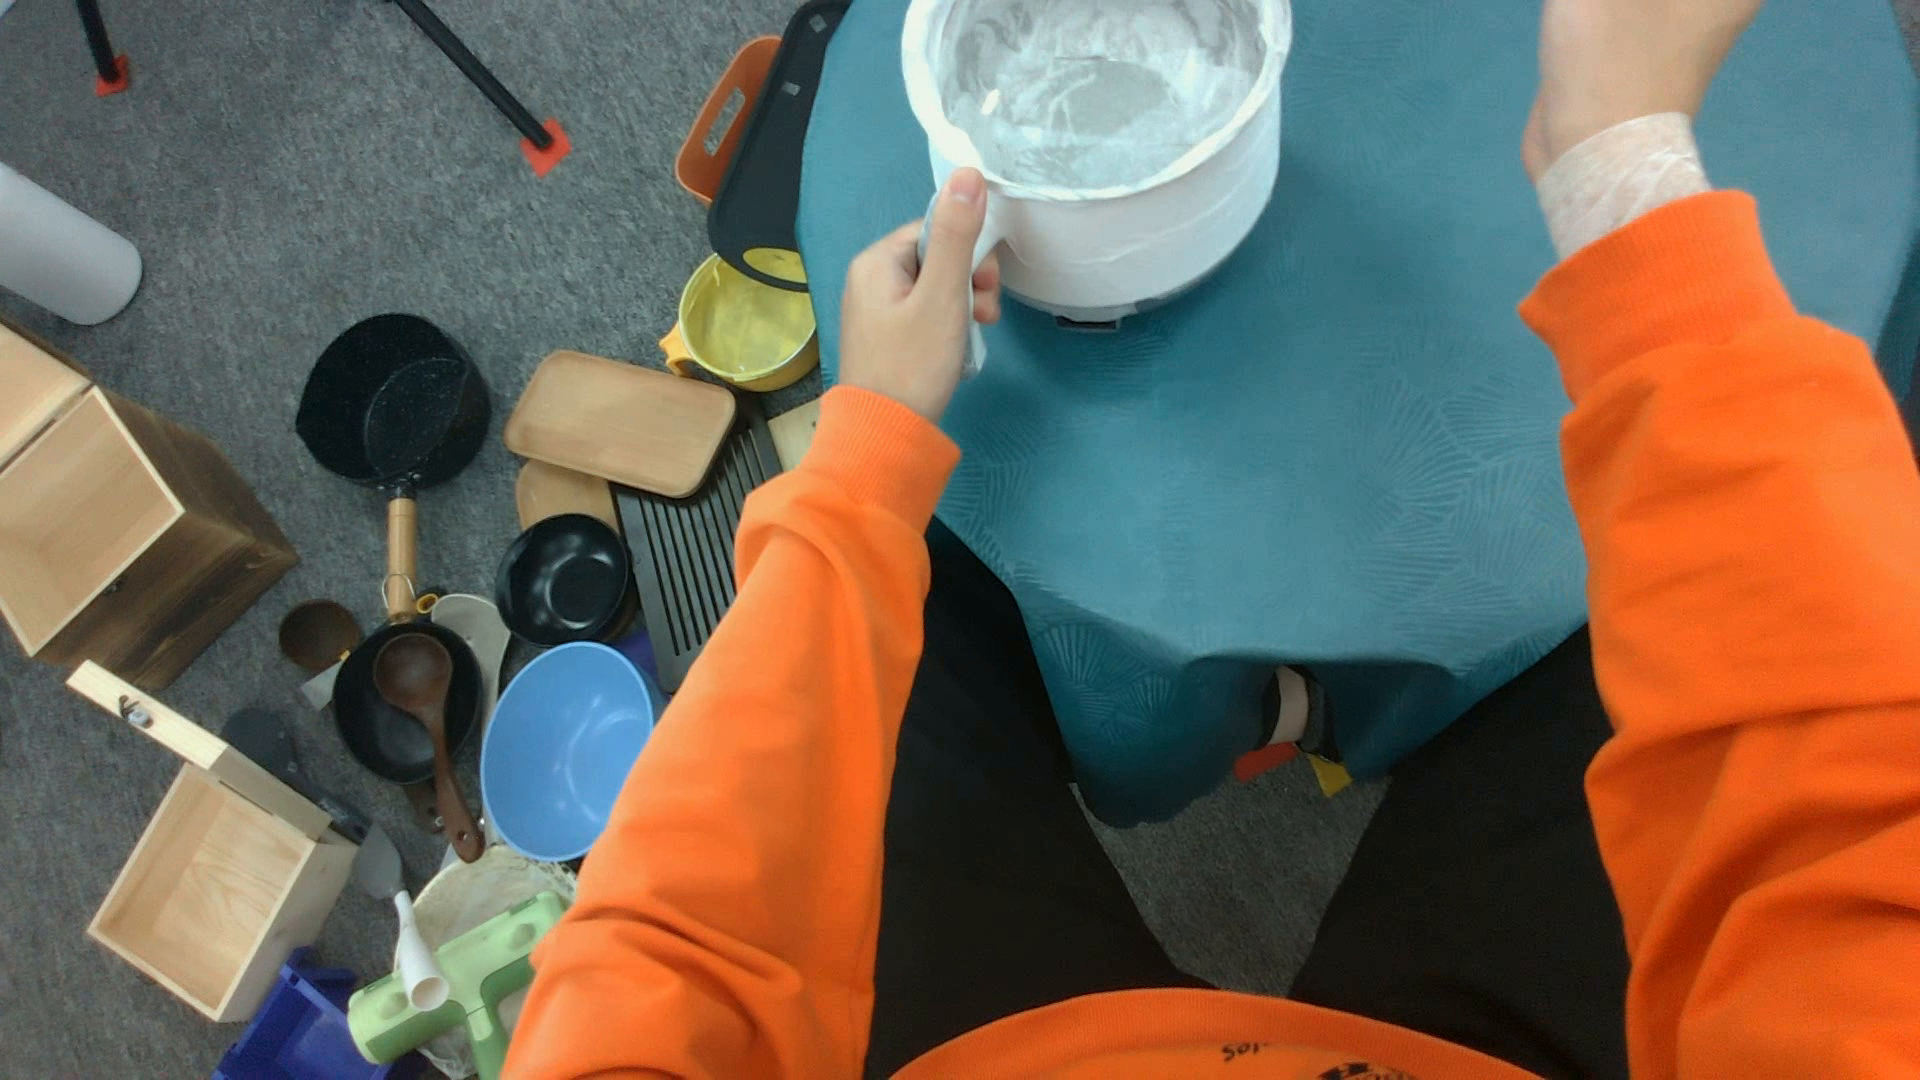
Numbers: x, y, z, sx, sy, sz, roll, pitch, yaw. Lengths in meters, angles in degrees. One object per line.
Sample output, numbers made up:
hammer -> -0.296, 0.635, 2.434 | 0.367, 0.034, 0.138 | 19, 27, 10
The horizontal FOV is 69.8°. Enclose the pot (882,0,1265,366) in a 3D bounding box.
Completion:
pot -> 0.044, -0.197, 0.685 | 0.179, 0.136, 0.234 | 32, 79, 18
